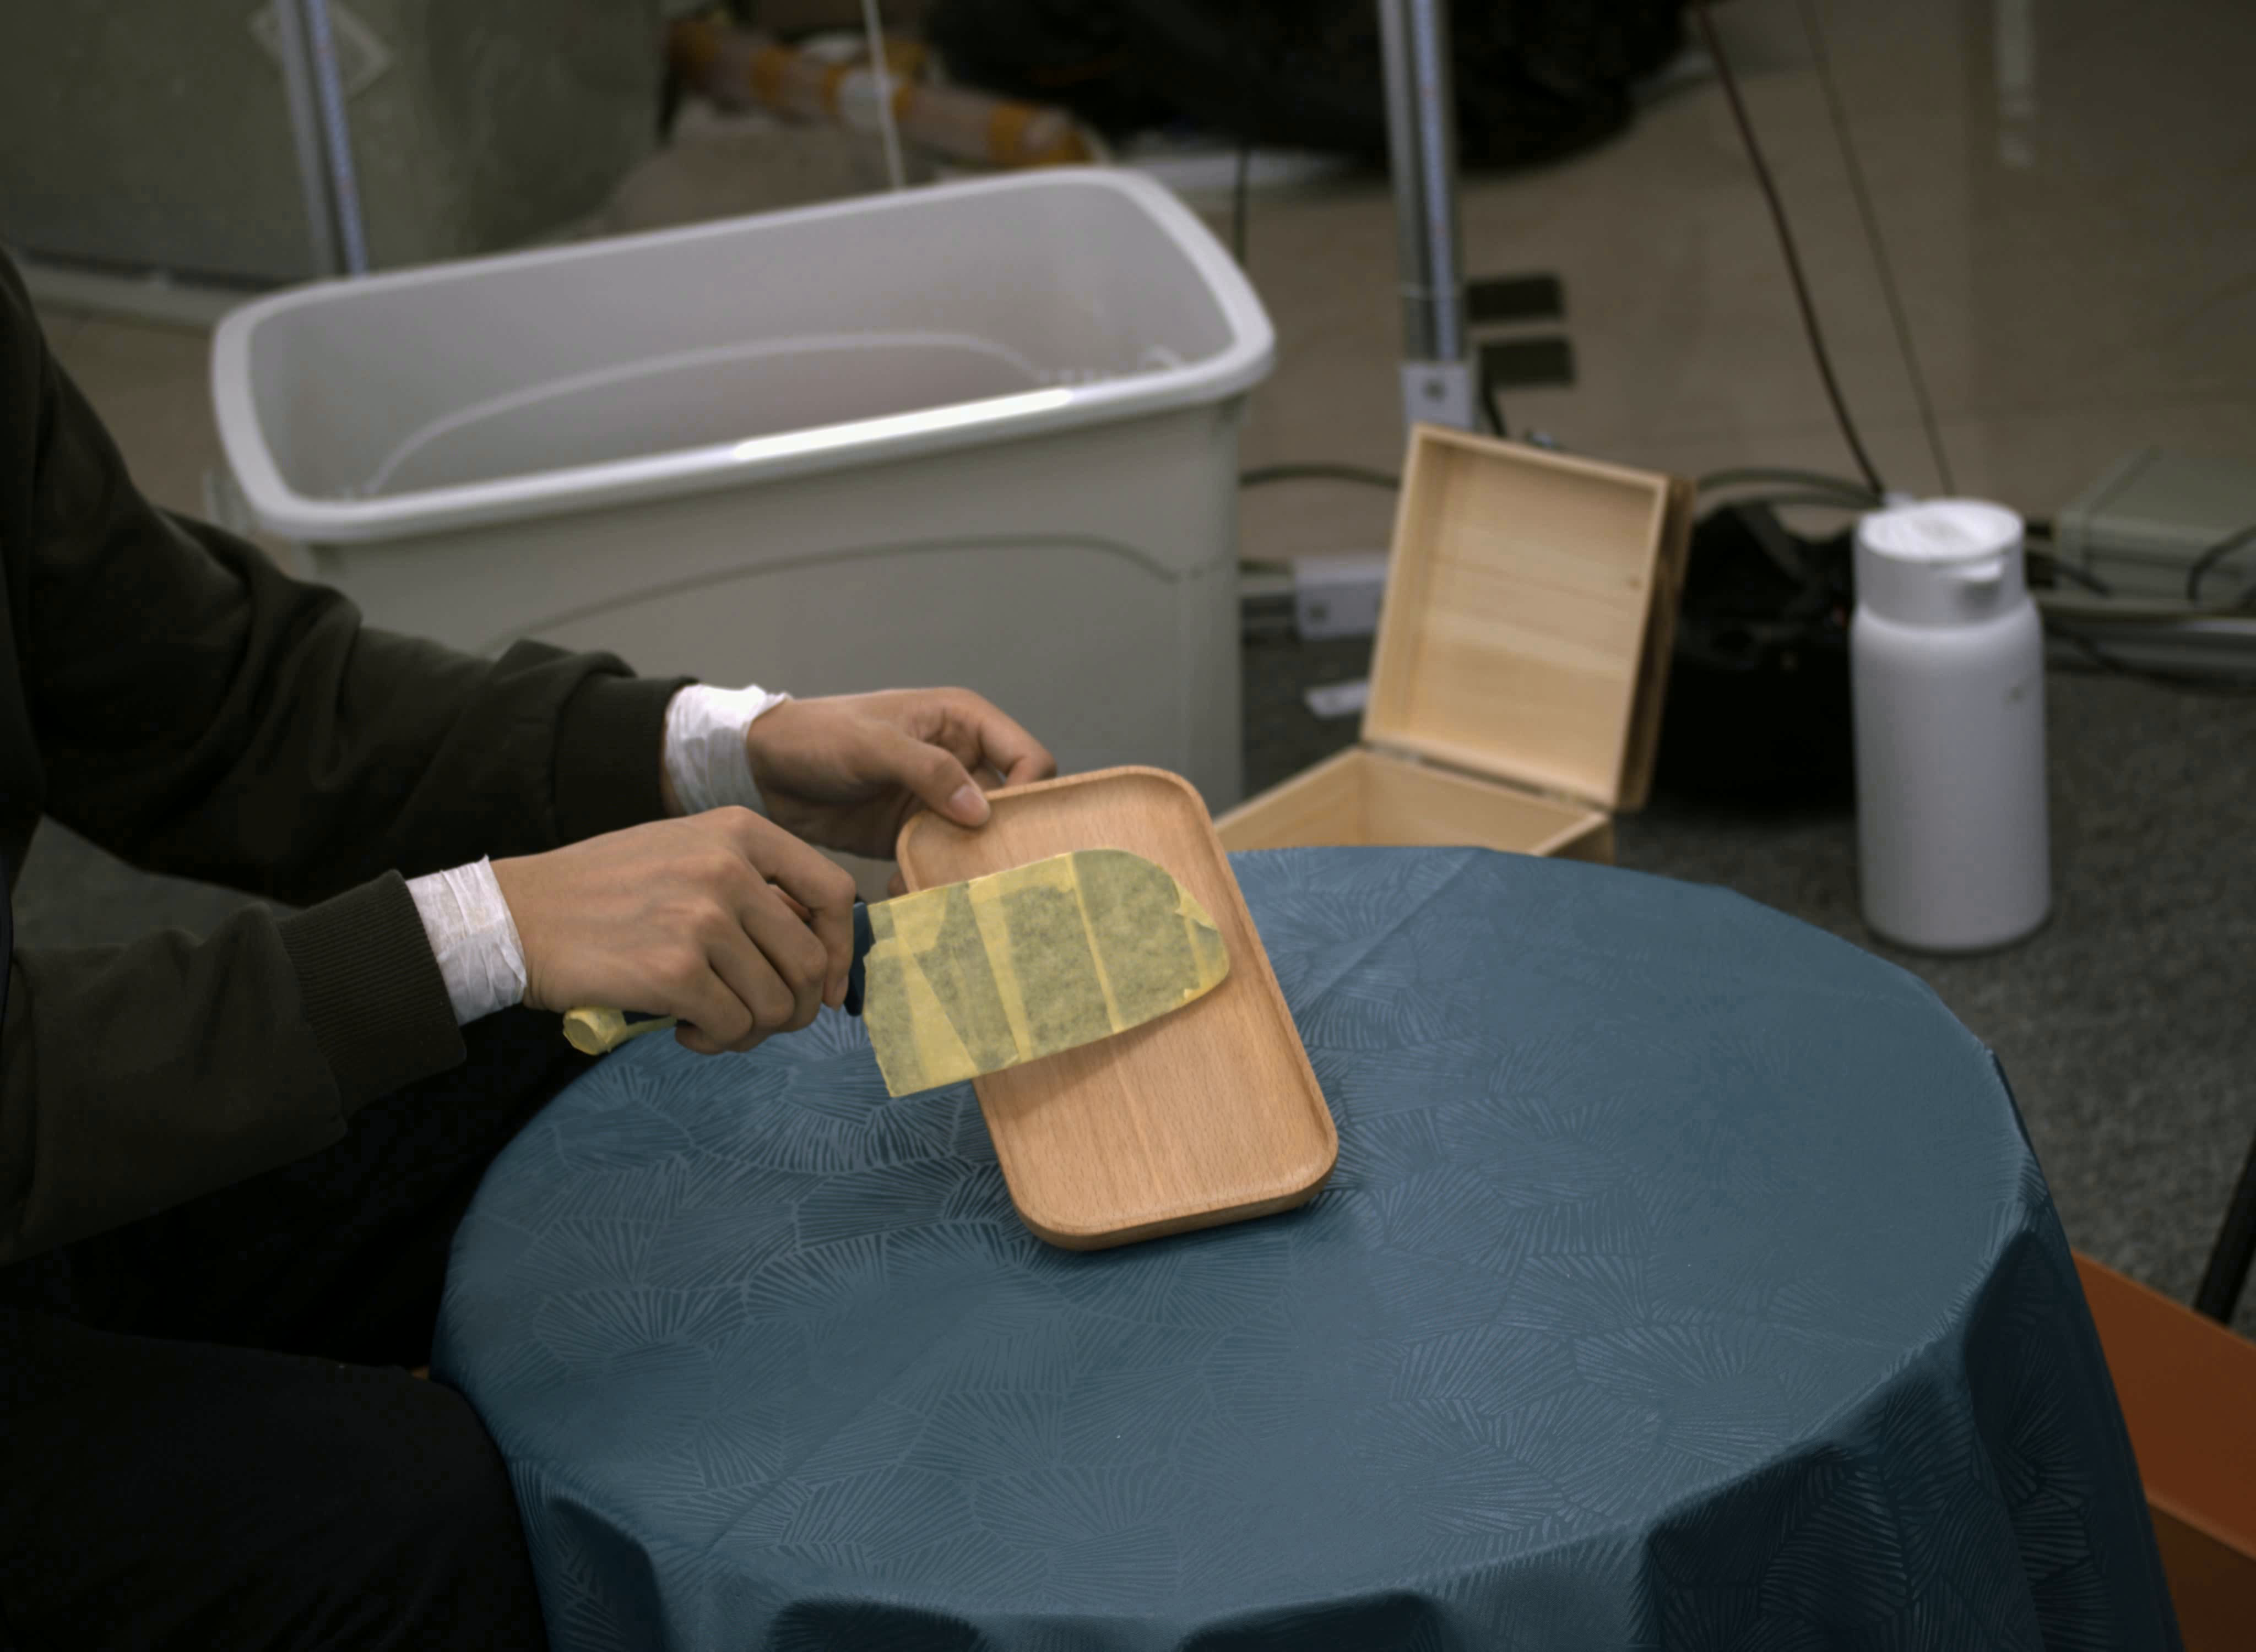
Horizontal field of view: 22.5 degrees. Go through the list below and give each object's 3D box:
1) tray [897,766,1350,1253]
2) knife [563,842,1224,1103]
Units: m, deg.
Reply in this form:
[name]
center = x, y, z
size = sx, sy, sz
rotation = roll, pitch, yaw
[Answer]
[tray]
center = -0.004, 0.069, 2.197
size = 0.130, 0.023, 0.246
rotation = -13, 45, -8
[knife]
center = -0.081, 0.062, 2.126
size = 0.288, 0.081, 0.027
rotation = -12, -5, -33
